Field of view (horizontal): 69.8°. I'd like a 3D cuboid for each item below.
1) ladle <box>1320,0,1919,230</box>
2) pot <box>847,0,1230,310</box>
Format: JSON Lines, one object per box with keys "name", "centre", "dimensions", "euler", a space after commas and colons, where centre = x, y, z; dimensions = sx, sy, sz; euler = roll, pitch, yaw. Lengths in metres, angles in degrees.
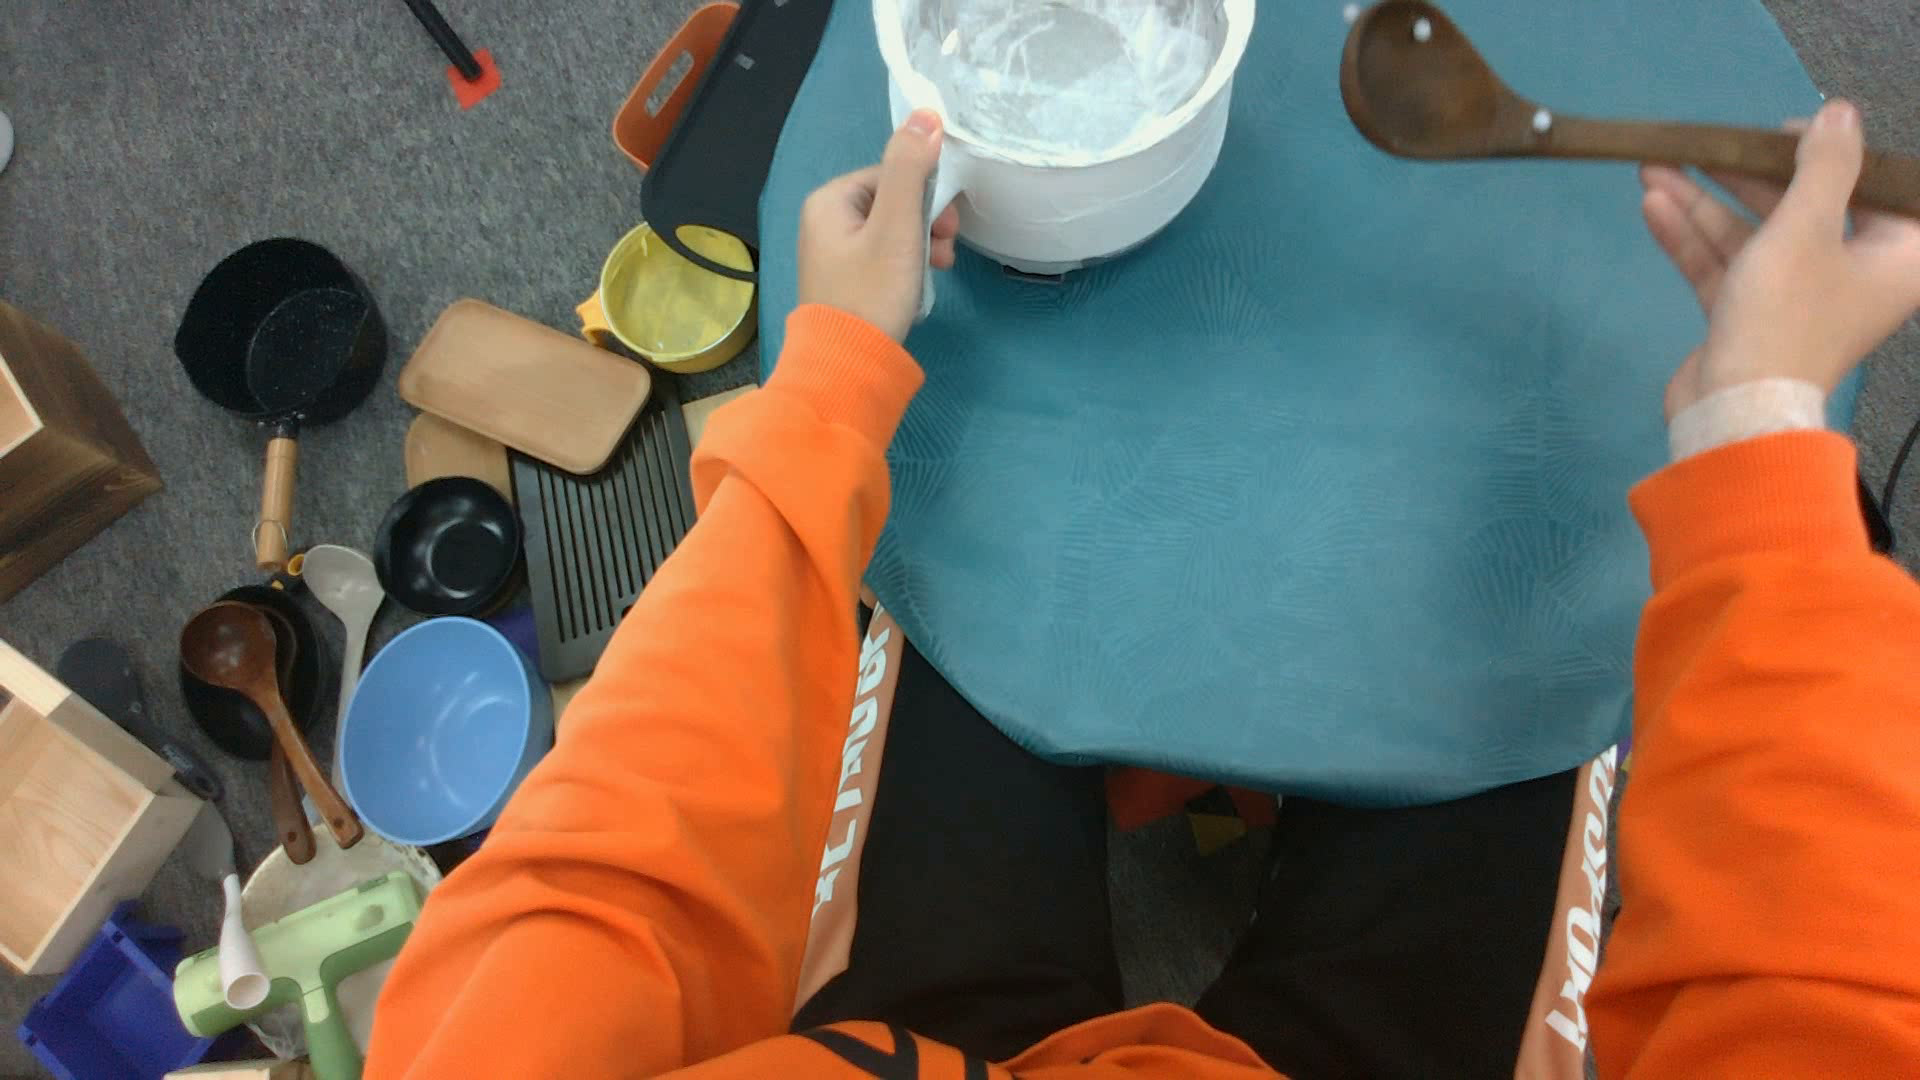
{"name": "ladle", "centre": [0.290, -0.181, 0.589], "dimensions": [0.274, 0.071, 0.076], "euler": [20, 77, 29]}
{"name": "pot", "centre": [0.025, -0.224, 0.700], "dimensions": [0.179, 0.136, 0.234], "euler": [36, 80, 11]}
